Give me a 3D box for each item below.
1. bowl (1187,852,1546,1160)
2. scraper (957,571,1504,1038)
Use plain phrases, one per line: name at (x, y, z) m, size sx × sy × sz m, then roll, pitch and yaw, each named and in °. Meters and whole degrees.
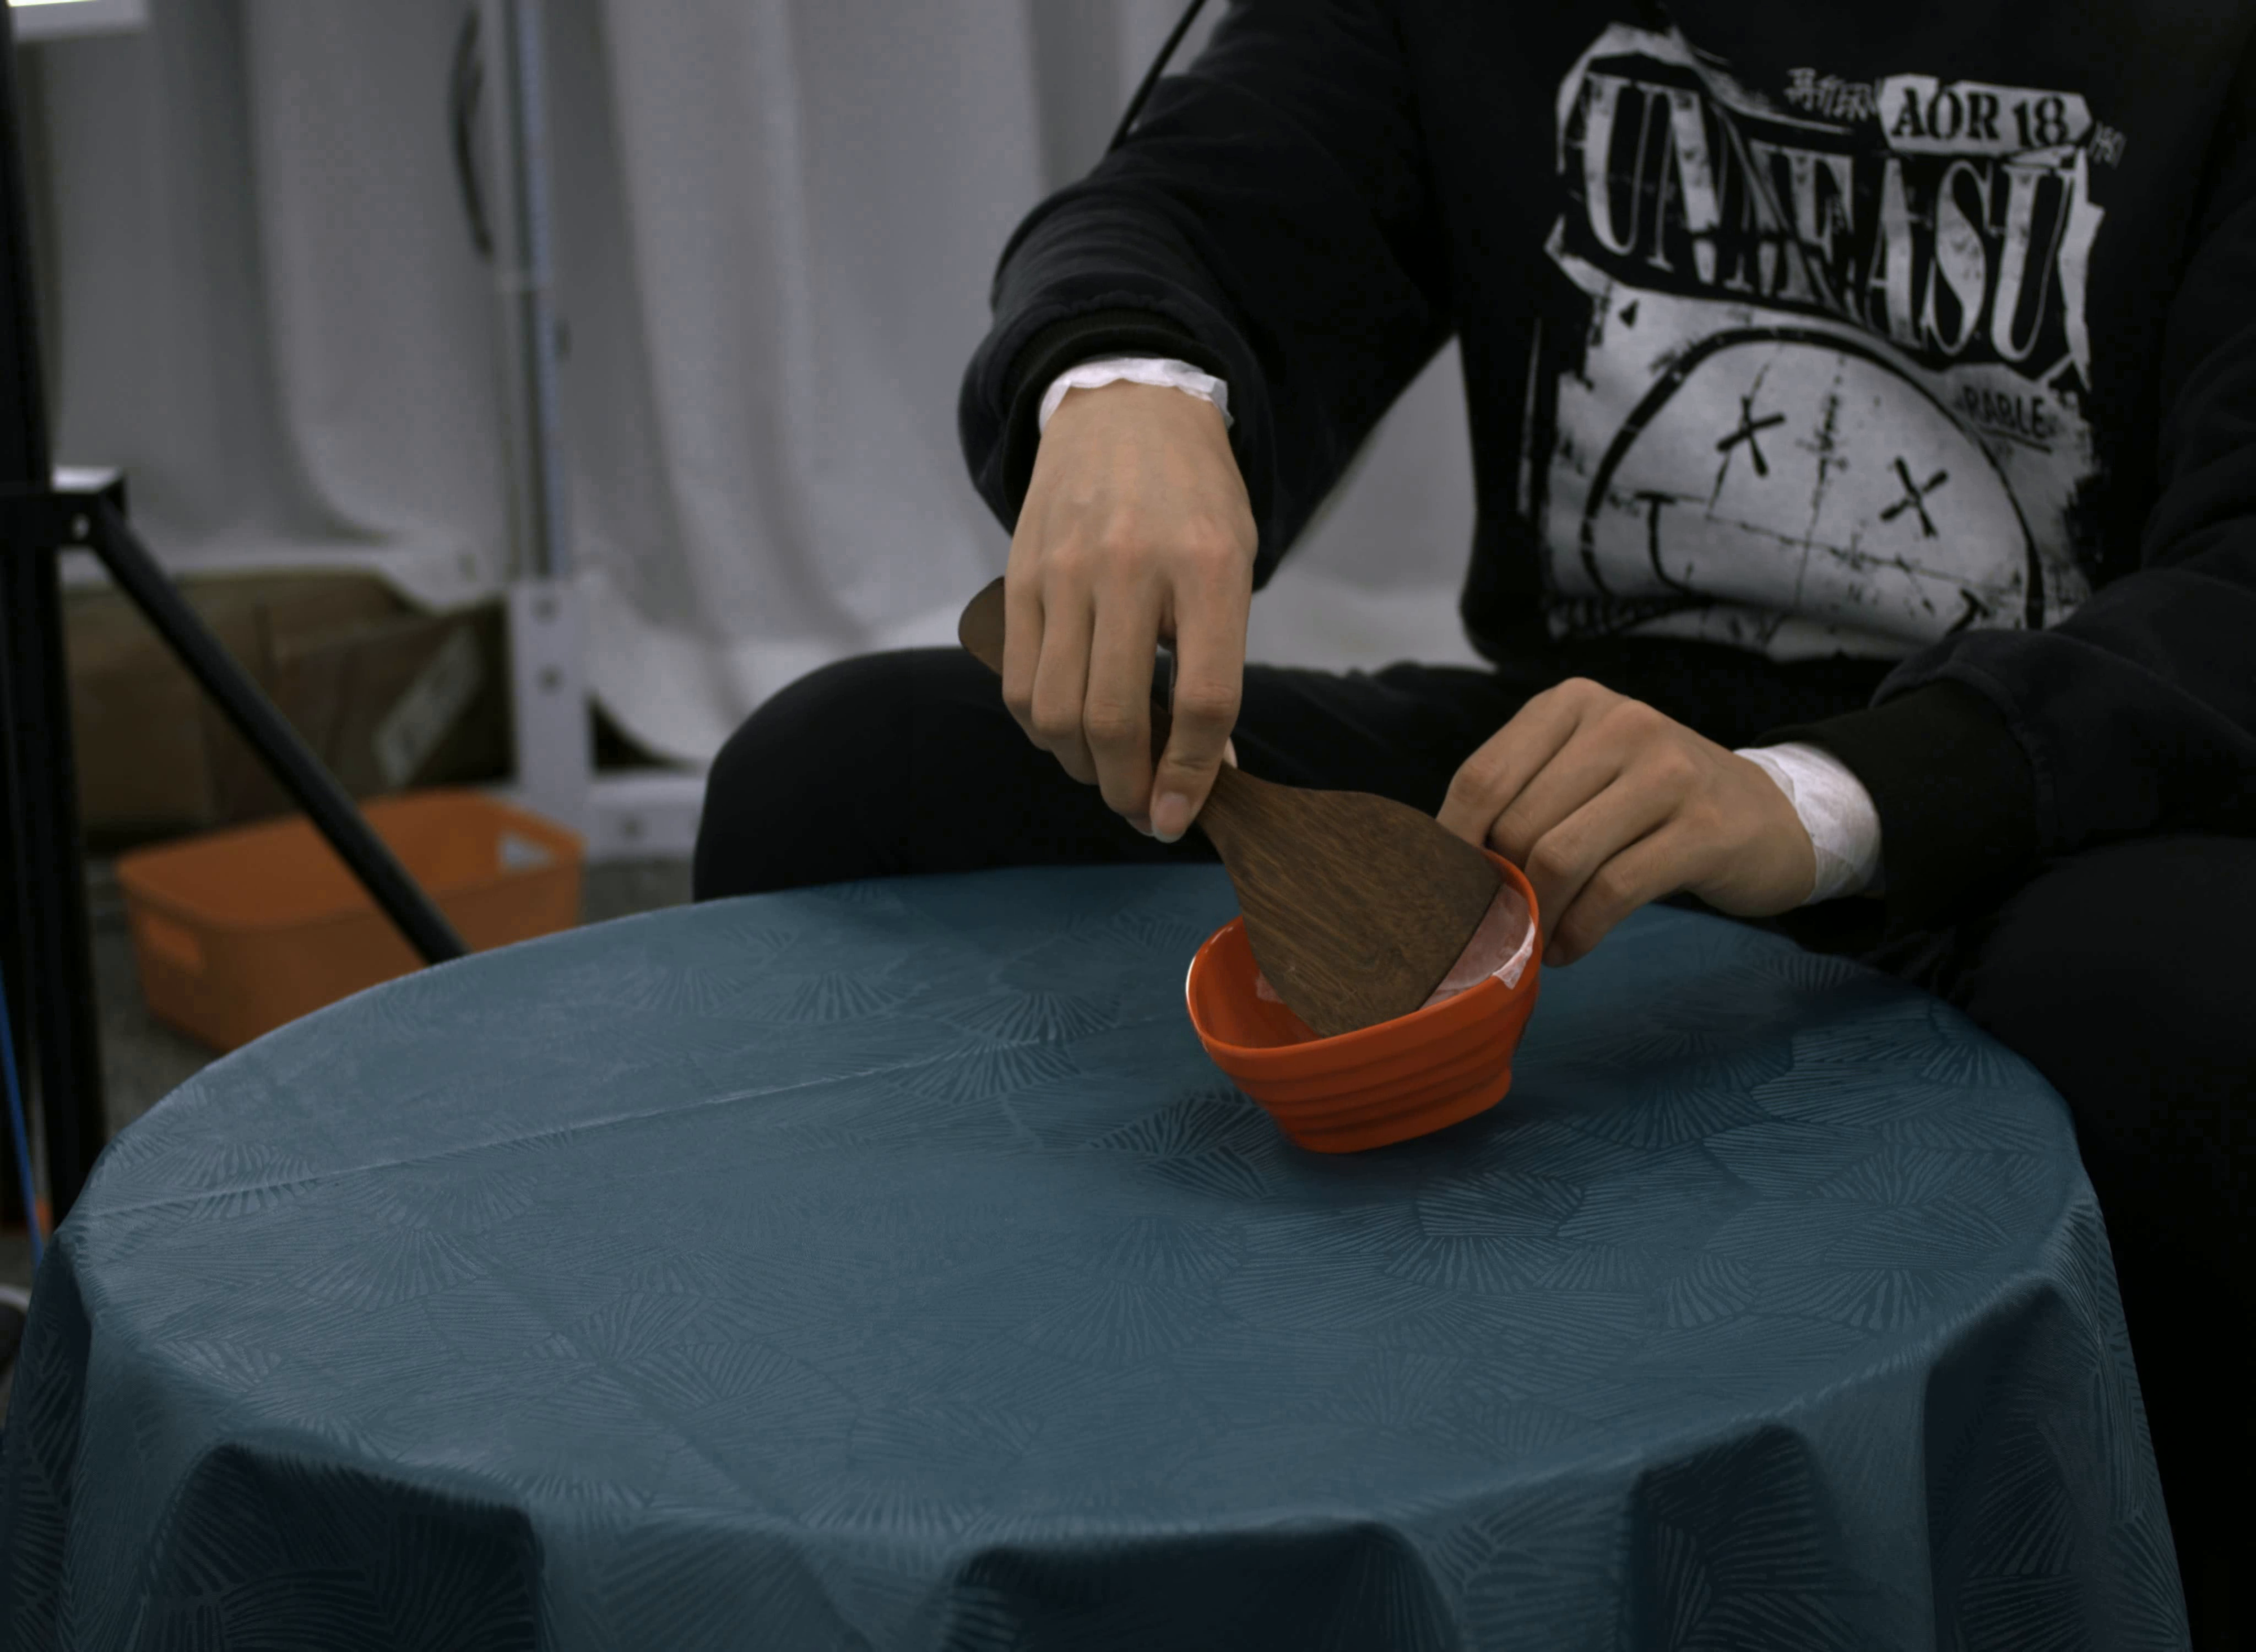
bowl at (0.078, 0.059, 1.595) m, size 0.119 × 0.051 × 0.120 m, roll -18°, pitch 23°, yaw 7°
scraper at (0.024, -0.013, 1.611) m, size 0.215 × 0.076 × 0.010 m, roll 40°, pitch 2°, yaw 31°
